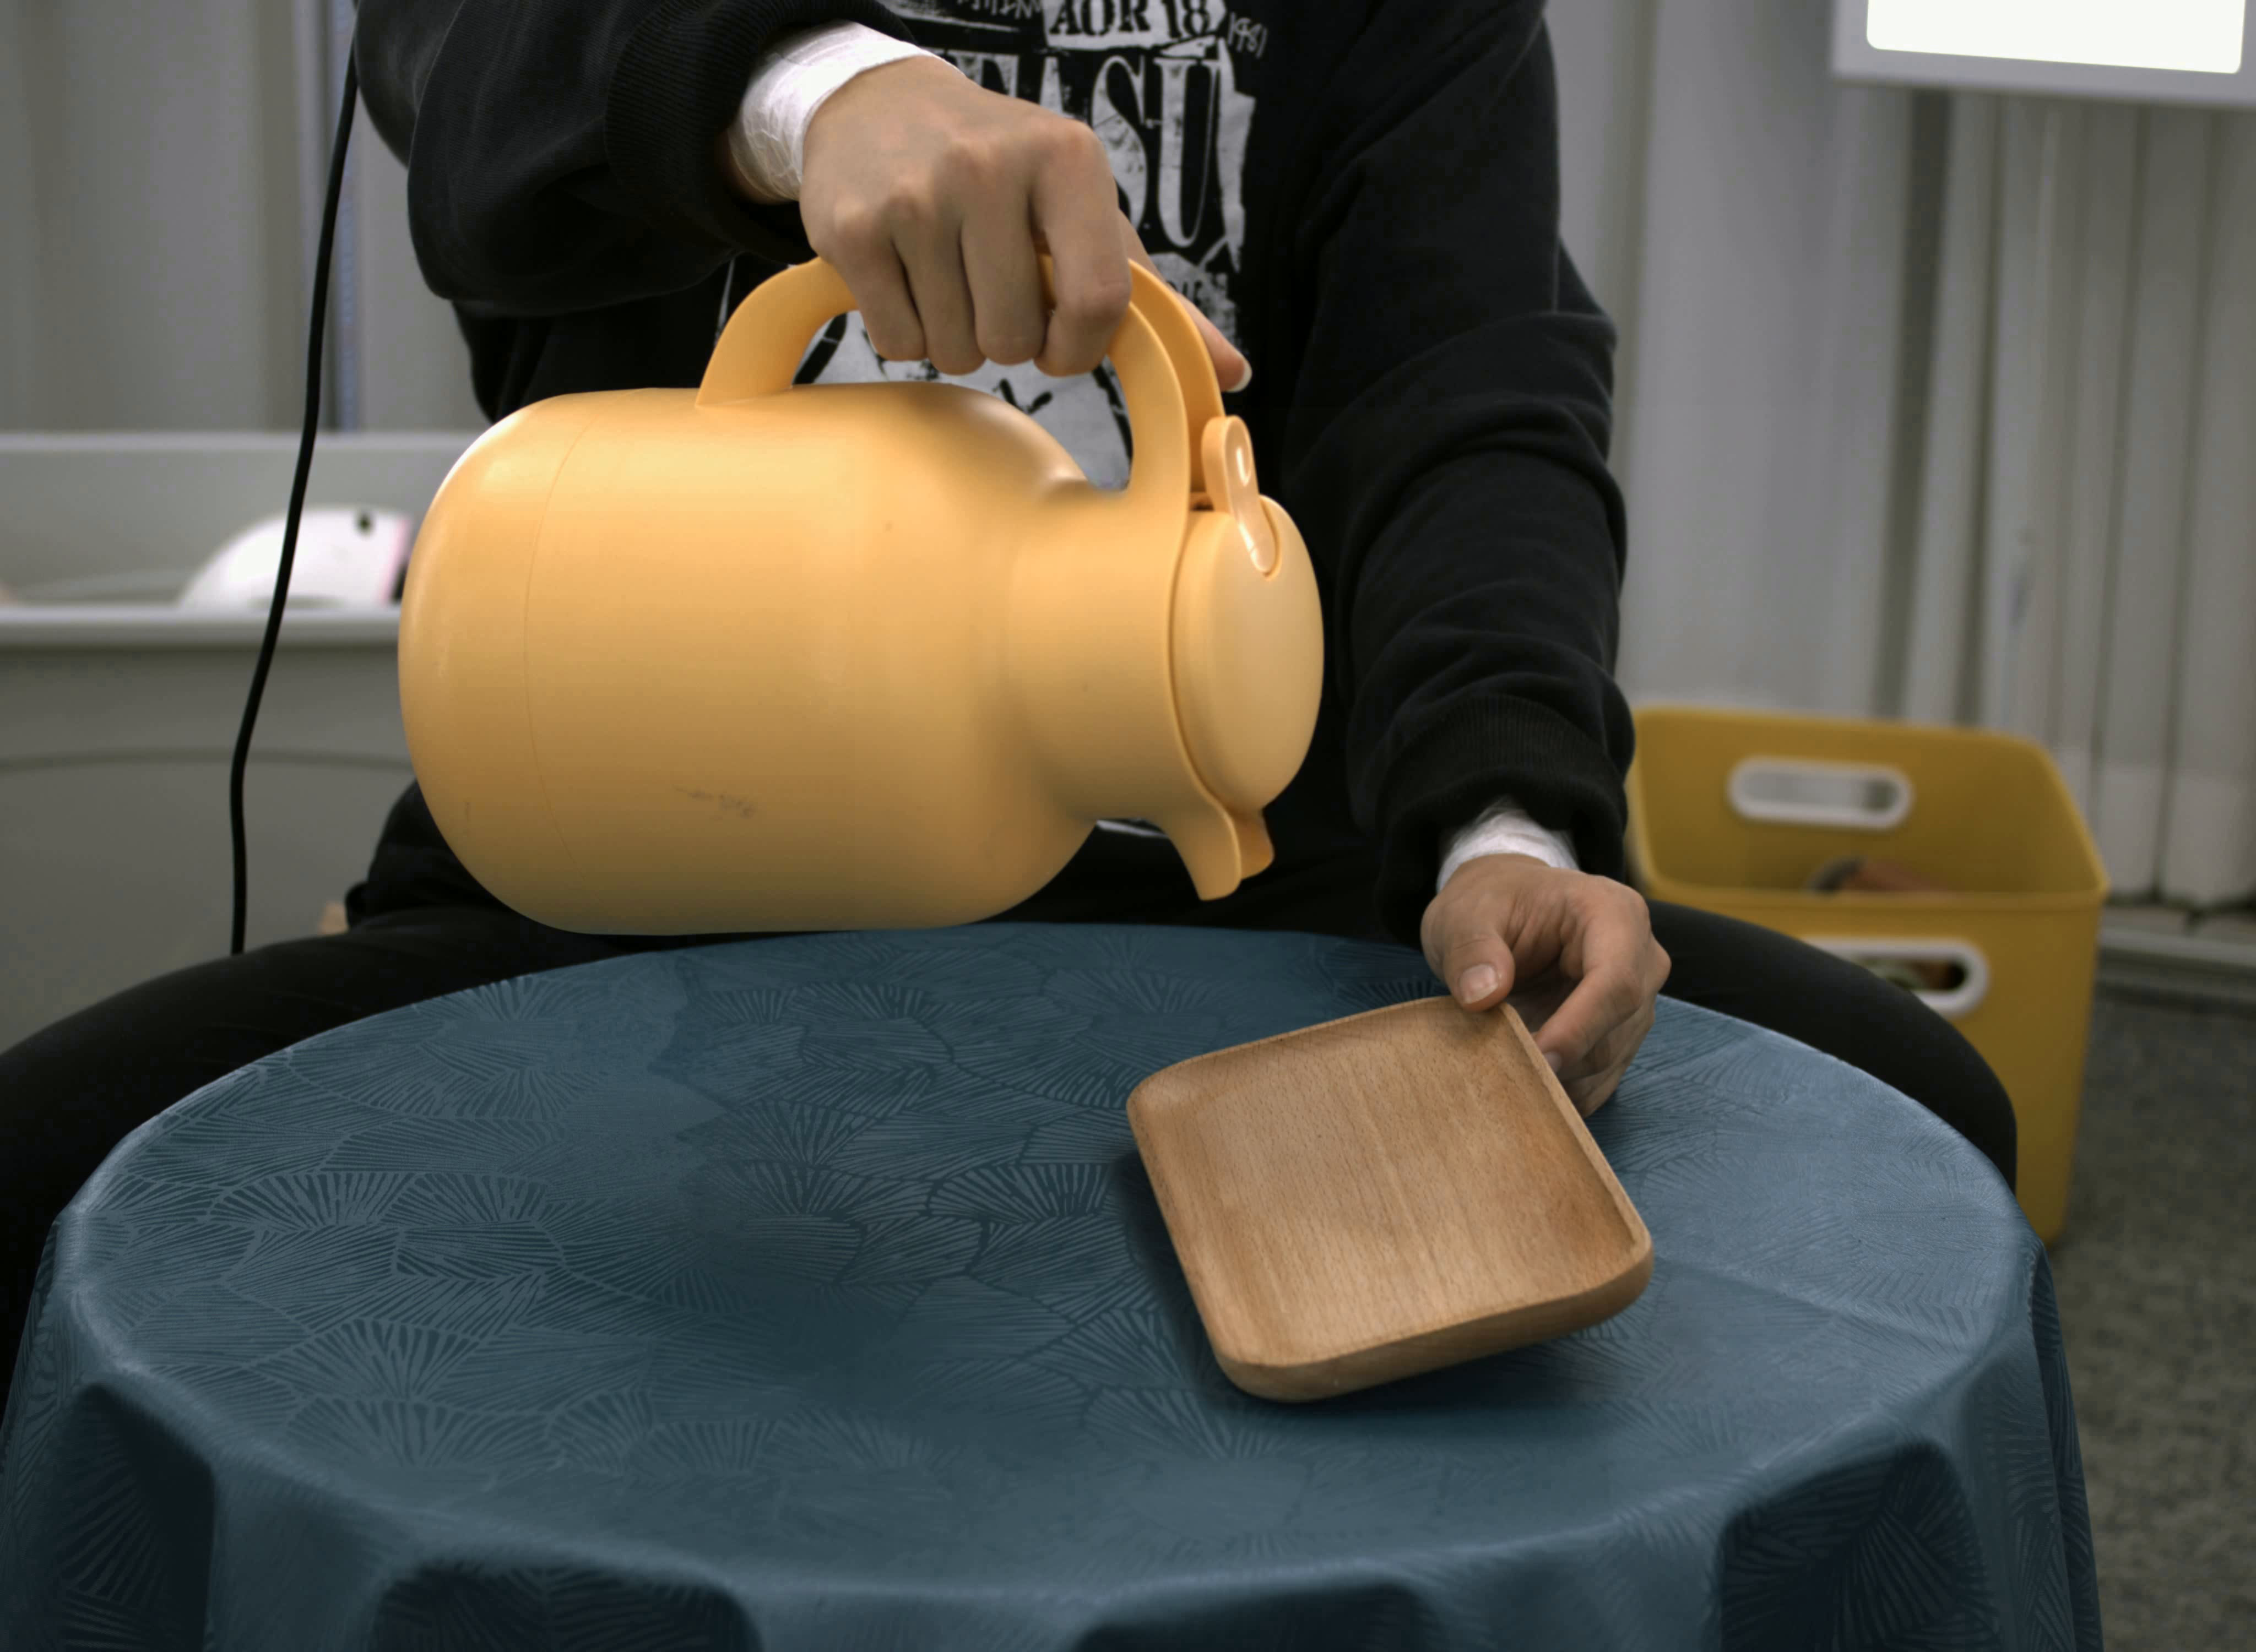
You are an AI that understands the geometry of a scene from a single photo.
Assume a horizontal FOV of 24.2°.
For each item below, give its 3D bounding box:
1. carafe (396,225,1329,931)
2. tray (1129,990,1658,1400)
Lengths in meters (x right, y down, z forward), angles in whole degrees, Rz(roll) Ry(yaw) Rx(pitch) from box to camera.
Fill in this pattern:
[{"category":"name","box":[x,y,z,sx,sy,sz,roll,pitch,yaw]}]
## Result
[{"category":"carafe","box":[-0.074,-0.071,1.528,0.258,0.204,0.163,0,13,21]},{"category":"tray","box":[0.075,0.106,1.559,0.130,0.023,0.249,-11,17,-3]}]
